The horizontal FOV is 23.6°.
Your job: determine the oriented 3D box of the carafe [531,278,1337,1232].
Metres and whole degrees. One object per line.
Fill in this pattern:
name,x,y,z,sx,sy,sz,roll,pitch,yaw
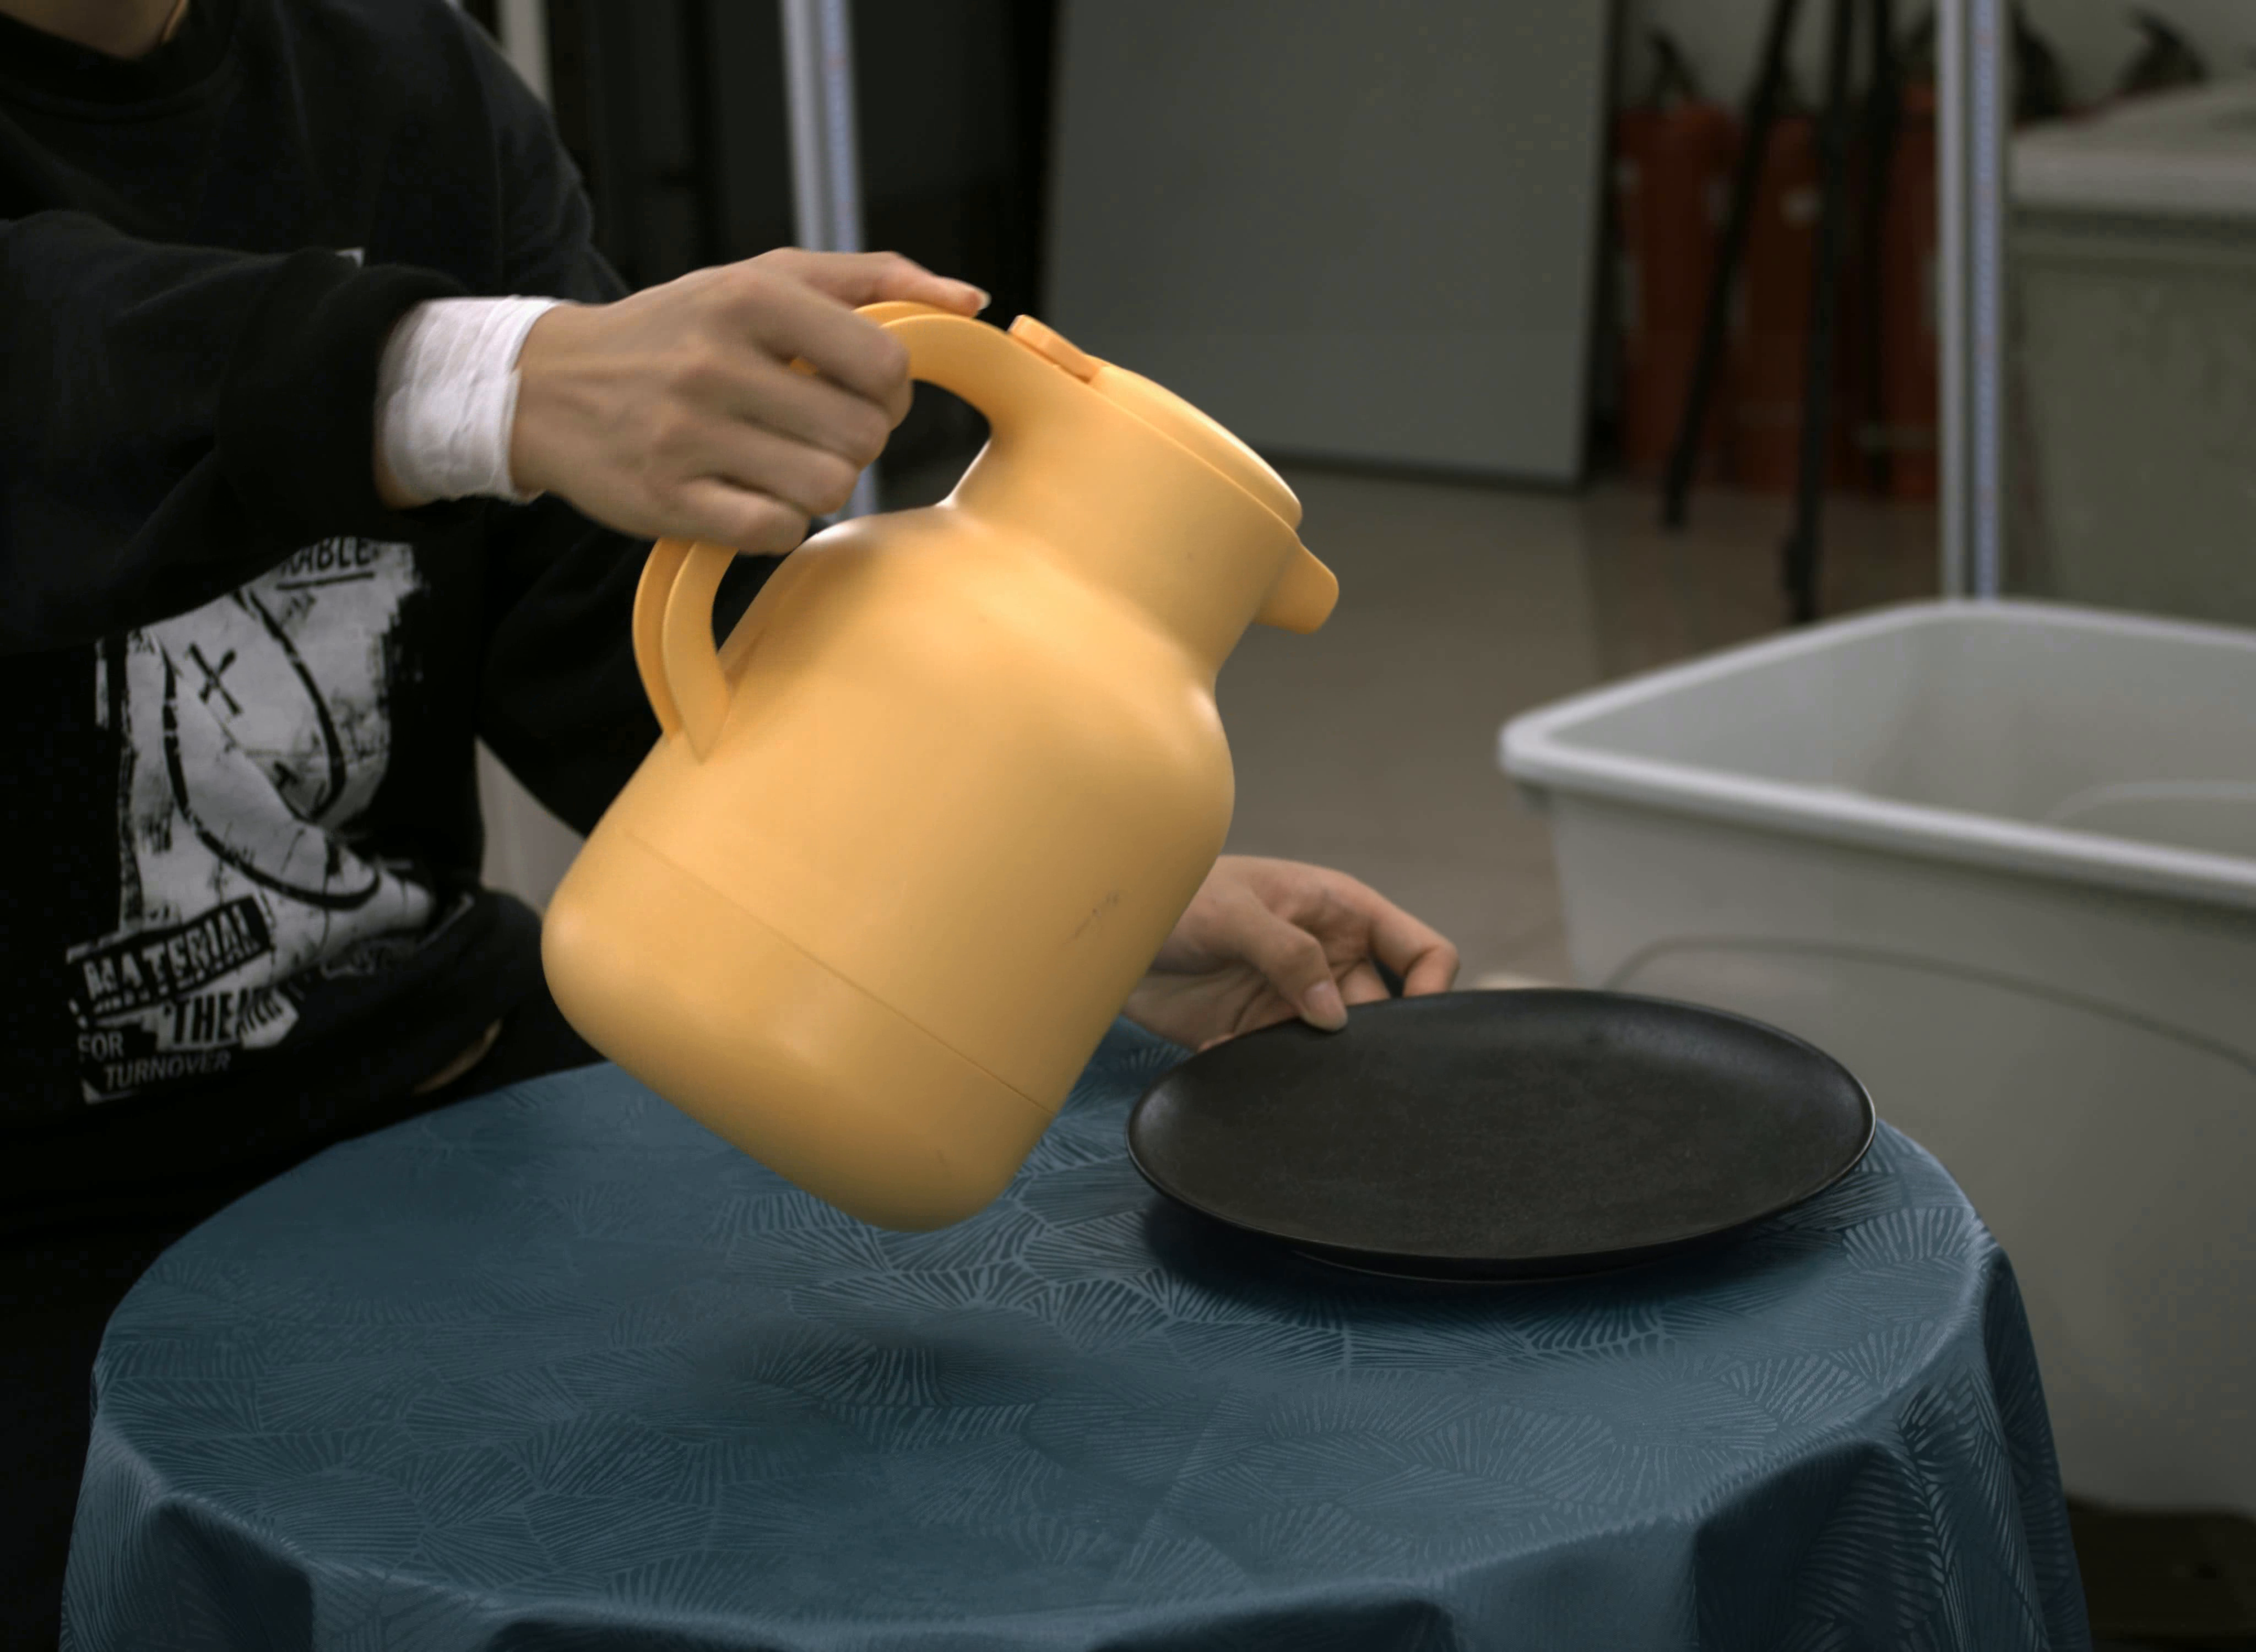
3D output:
carafe,-0.067,-0.030,1.610,0.199,0.261,0.165,37,-4,-26

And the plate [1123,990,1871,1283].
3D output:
plate,0.119,0.103,1.739,0.241,0.023,0.245,-3,17,0
